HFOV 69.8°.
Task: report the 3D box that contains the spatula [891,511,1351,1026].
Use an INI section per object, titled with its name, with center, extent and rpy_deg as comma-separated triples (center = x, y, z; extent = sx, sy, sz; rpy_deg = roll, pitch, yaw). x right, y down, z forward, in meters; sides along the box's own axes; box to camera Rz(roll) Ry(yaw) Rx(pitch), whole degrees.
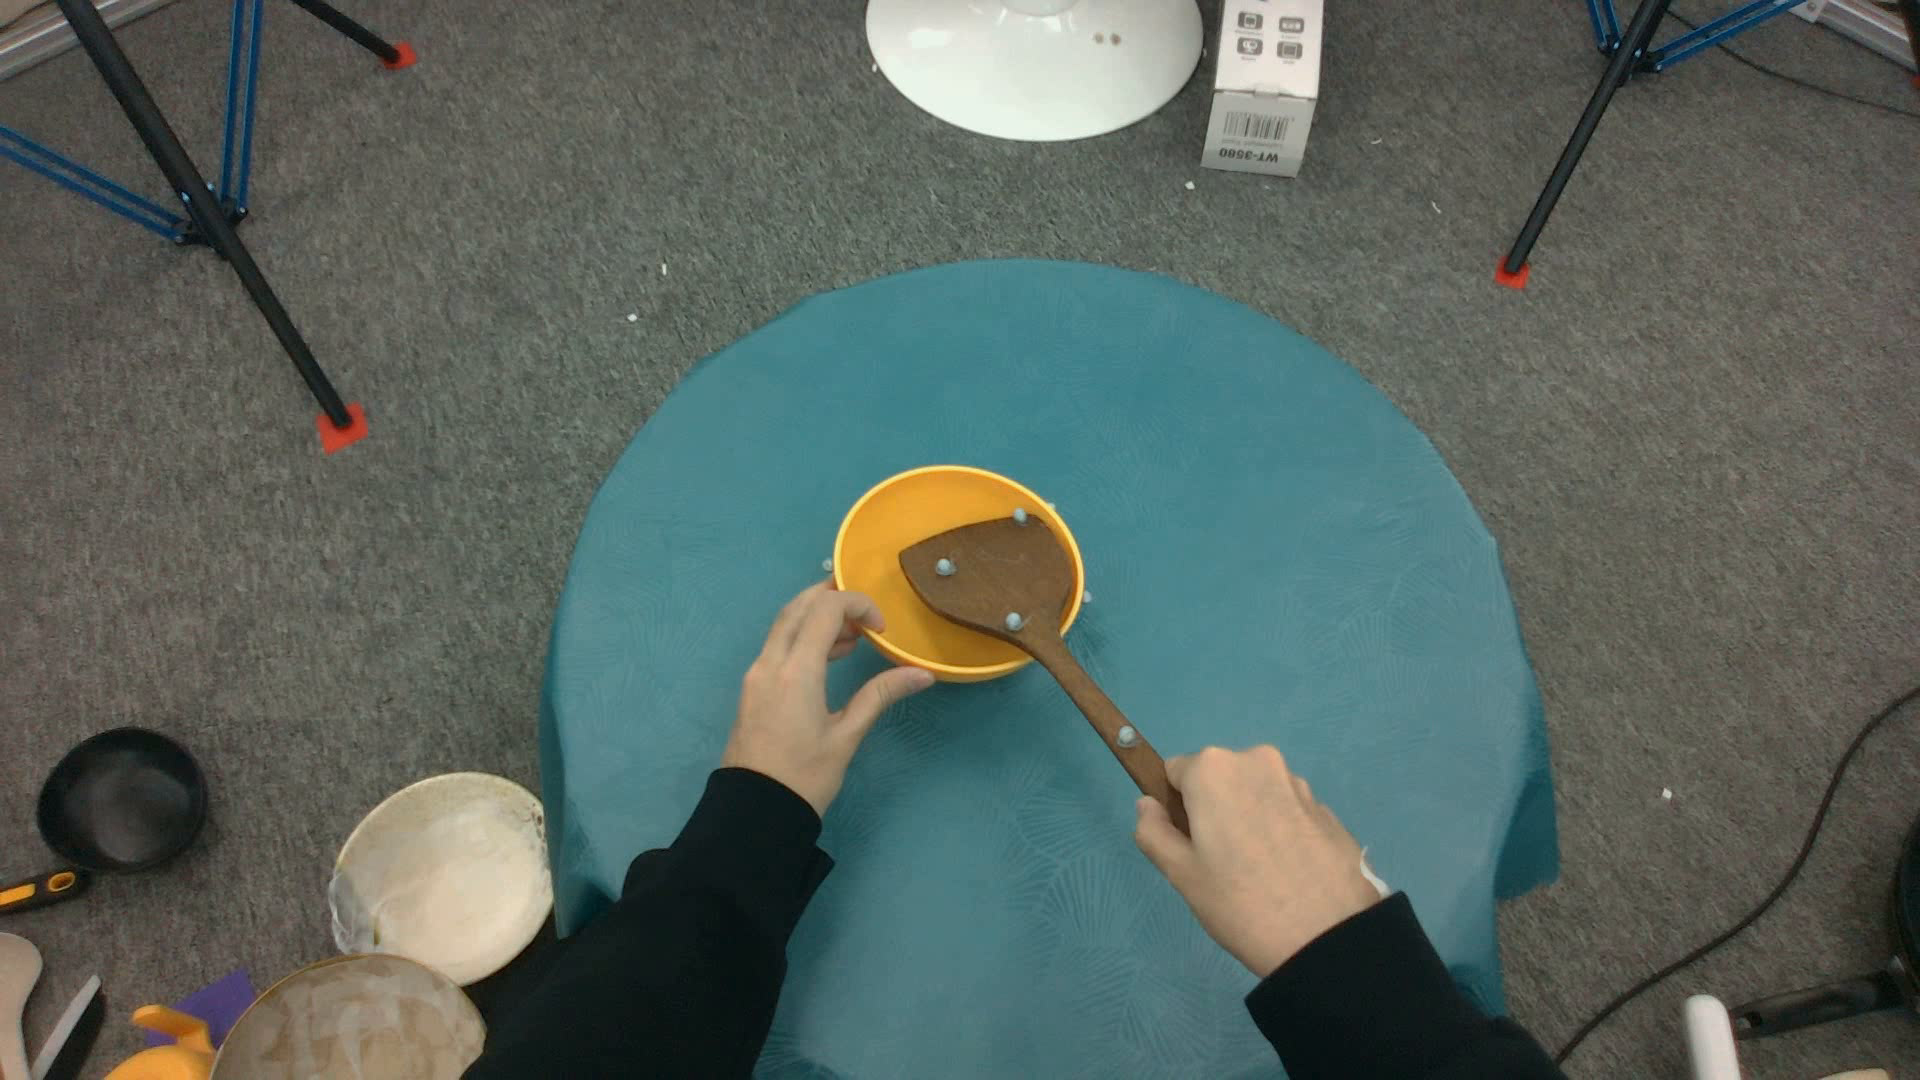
[spatula]
center = 0.071, 0.087, 0.676
extent = 0.096, 0.016, 0.386
rpy_deg = -15, 35, -18

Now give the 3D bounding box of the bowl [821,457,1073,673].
[bowl]
center = -0.009, 0.025, 0.810
extent = 0.145, 0.060, 0.146
rpy_deg = 4, 54, -5
